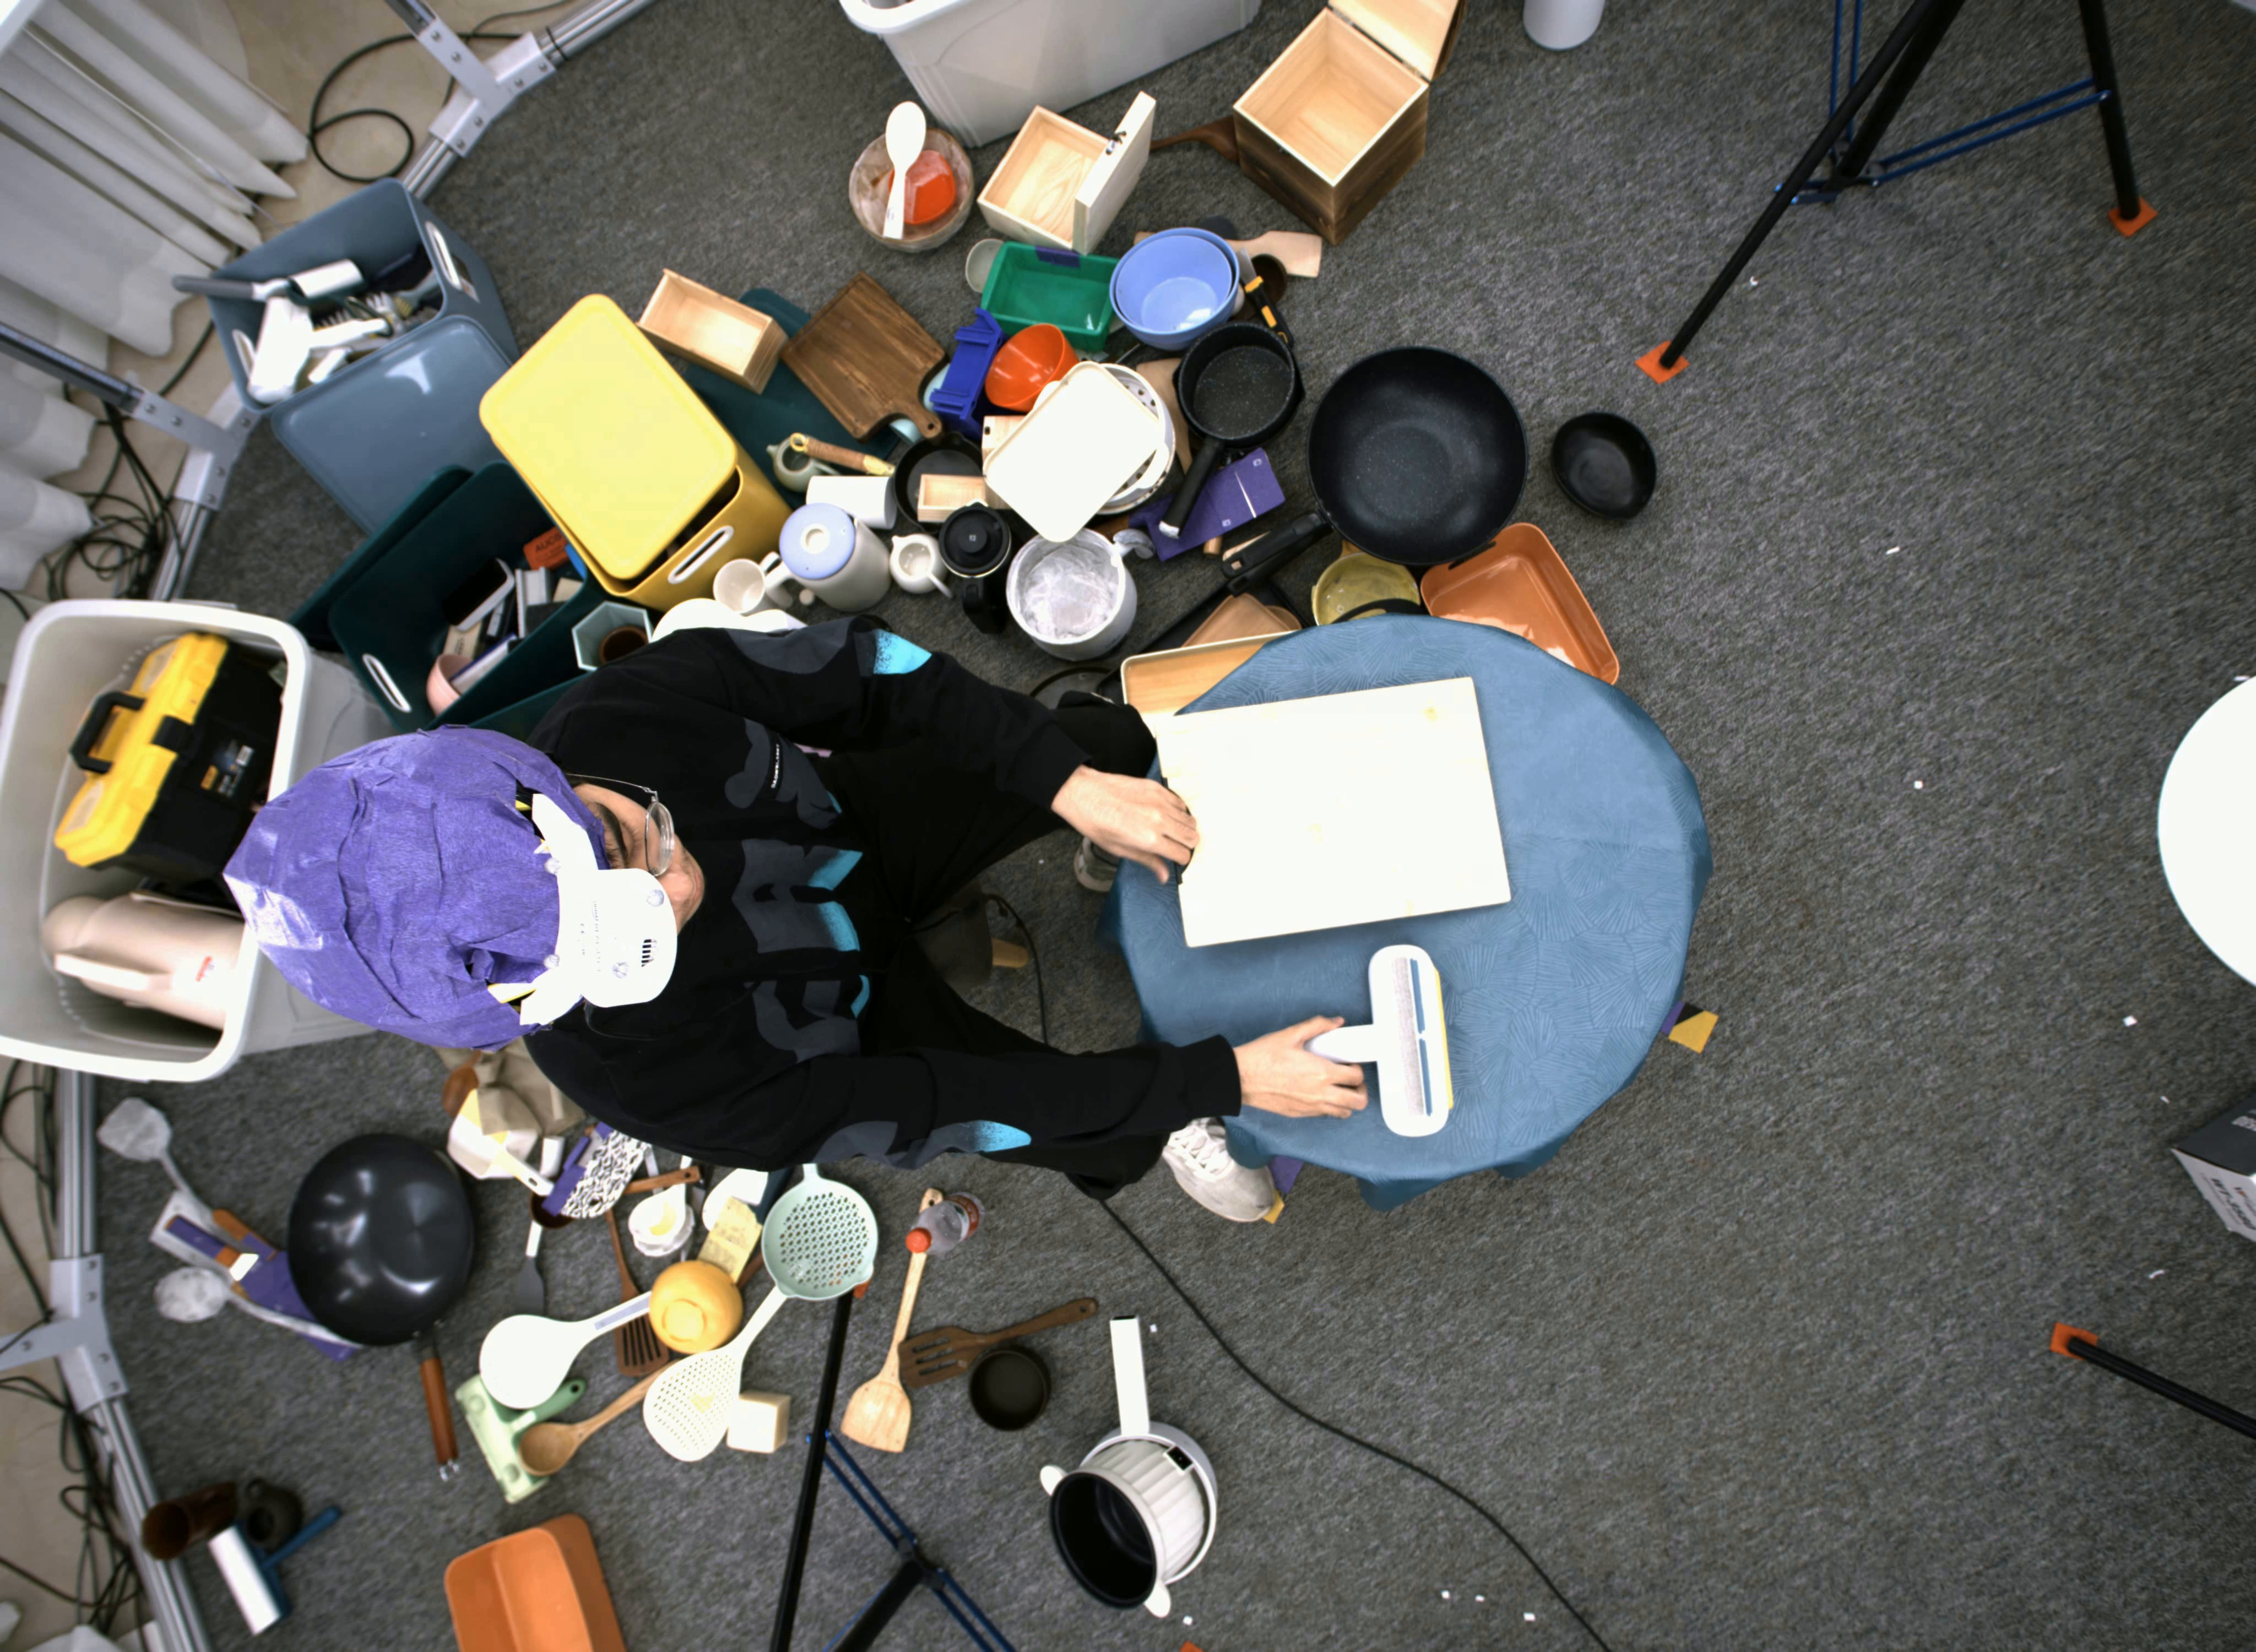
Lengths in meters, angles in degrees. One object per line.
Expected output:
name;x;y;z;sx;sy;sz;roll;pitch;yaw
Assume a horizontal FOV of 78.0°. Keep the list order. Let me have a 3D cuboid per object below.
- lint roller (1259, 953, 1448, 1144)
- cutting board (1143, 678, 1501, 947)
lint roller;0.229;0.227;1.421;0.193;0.074;0.191;-2;81;12
cutting board;0.204;-0.017;1.430;0.349;0.024;0.249;-8;86;-1
